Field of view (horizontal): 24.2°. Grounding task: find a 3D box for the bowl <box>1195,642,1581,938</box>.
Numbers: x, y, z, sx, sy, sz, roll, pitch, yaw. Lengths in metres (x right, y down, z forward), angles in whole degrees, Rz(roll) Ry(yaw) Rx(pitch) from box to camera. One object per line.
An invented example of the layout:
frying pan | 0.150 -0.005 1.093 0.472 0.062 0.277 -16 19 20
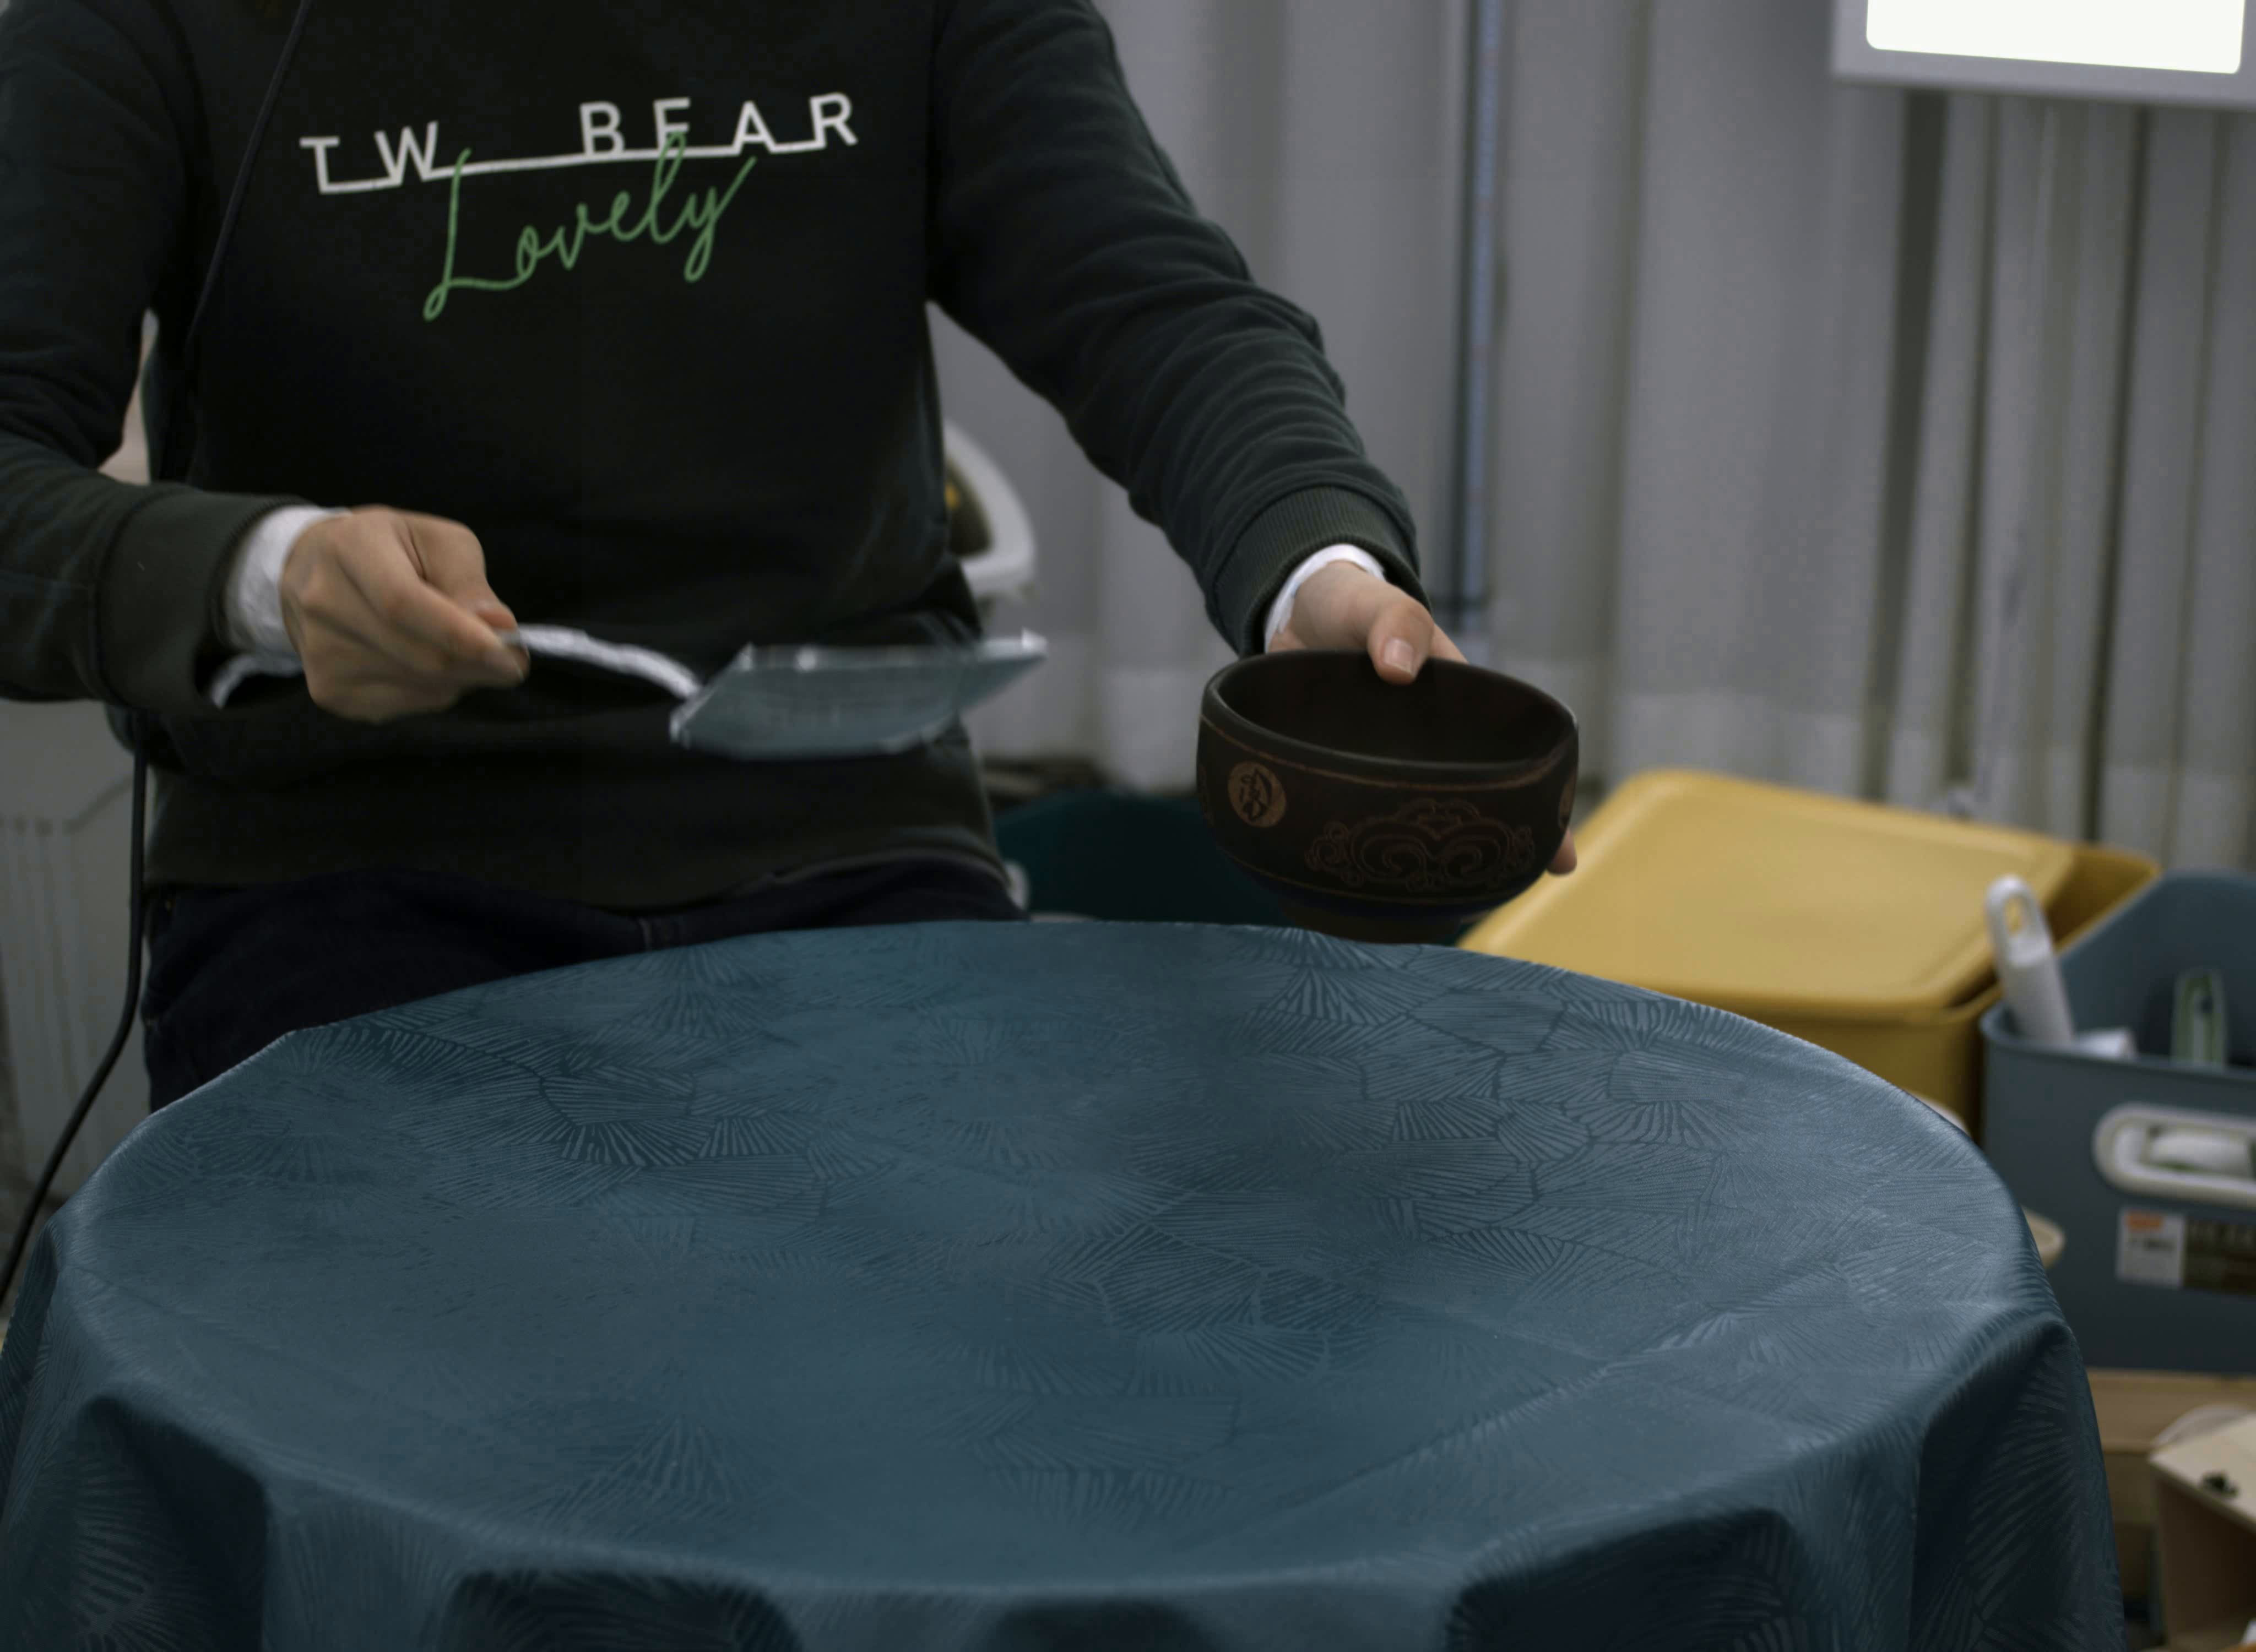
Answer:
bowl | 0.078 -0.007 1.624 0.118 0.070 0.117 7 18 -2

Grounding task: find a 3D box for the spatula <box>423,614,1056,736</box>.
spatula | -0.142 -0.057 1.580 0.099 0.045 0.361 -4 10 -30
